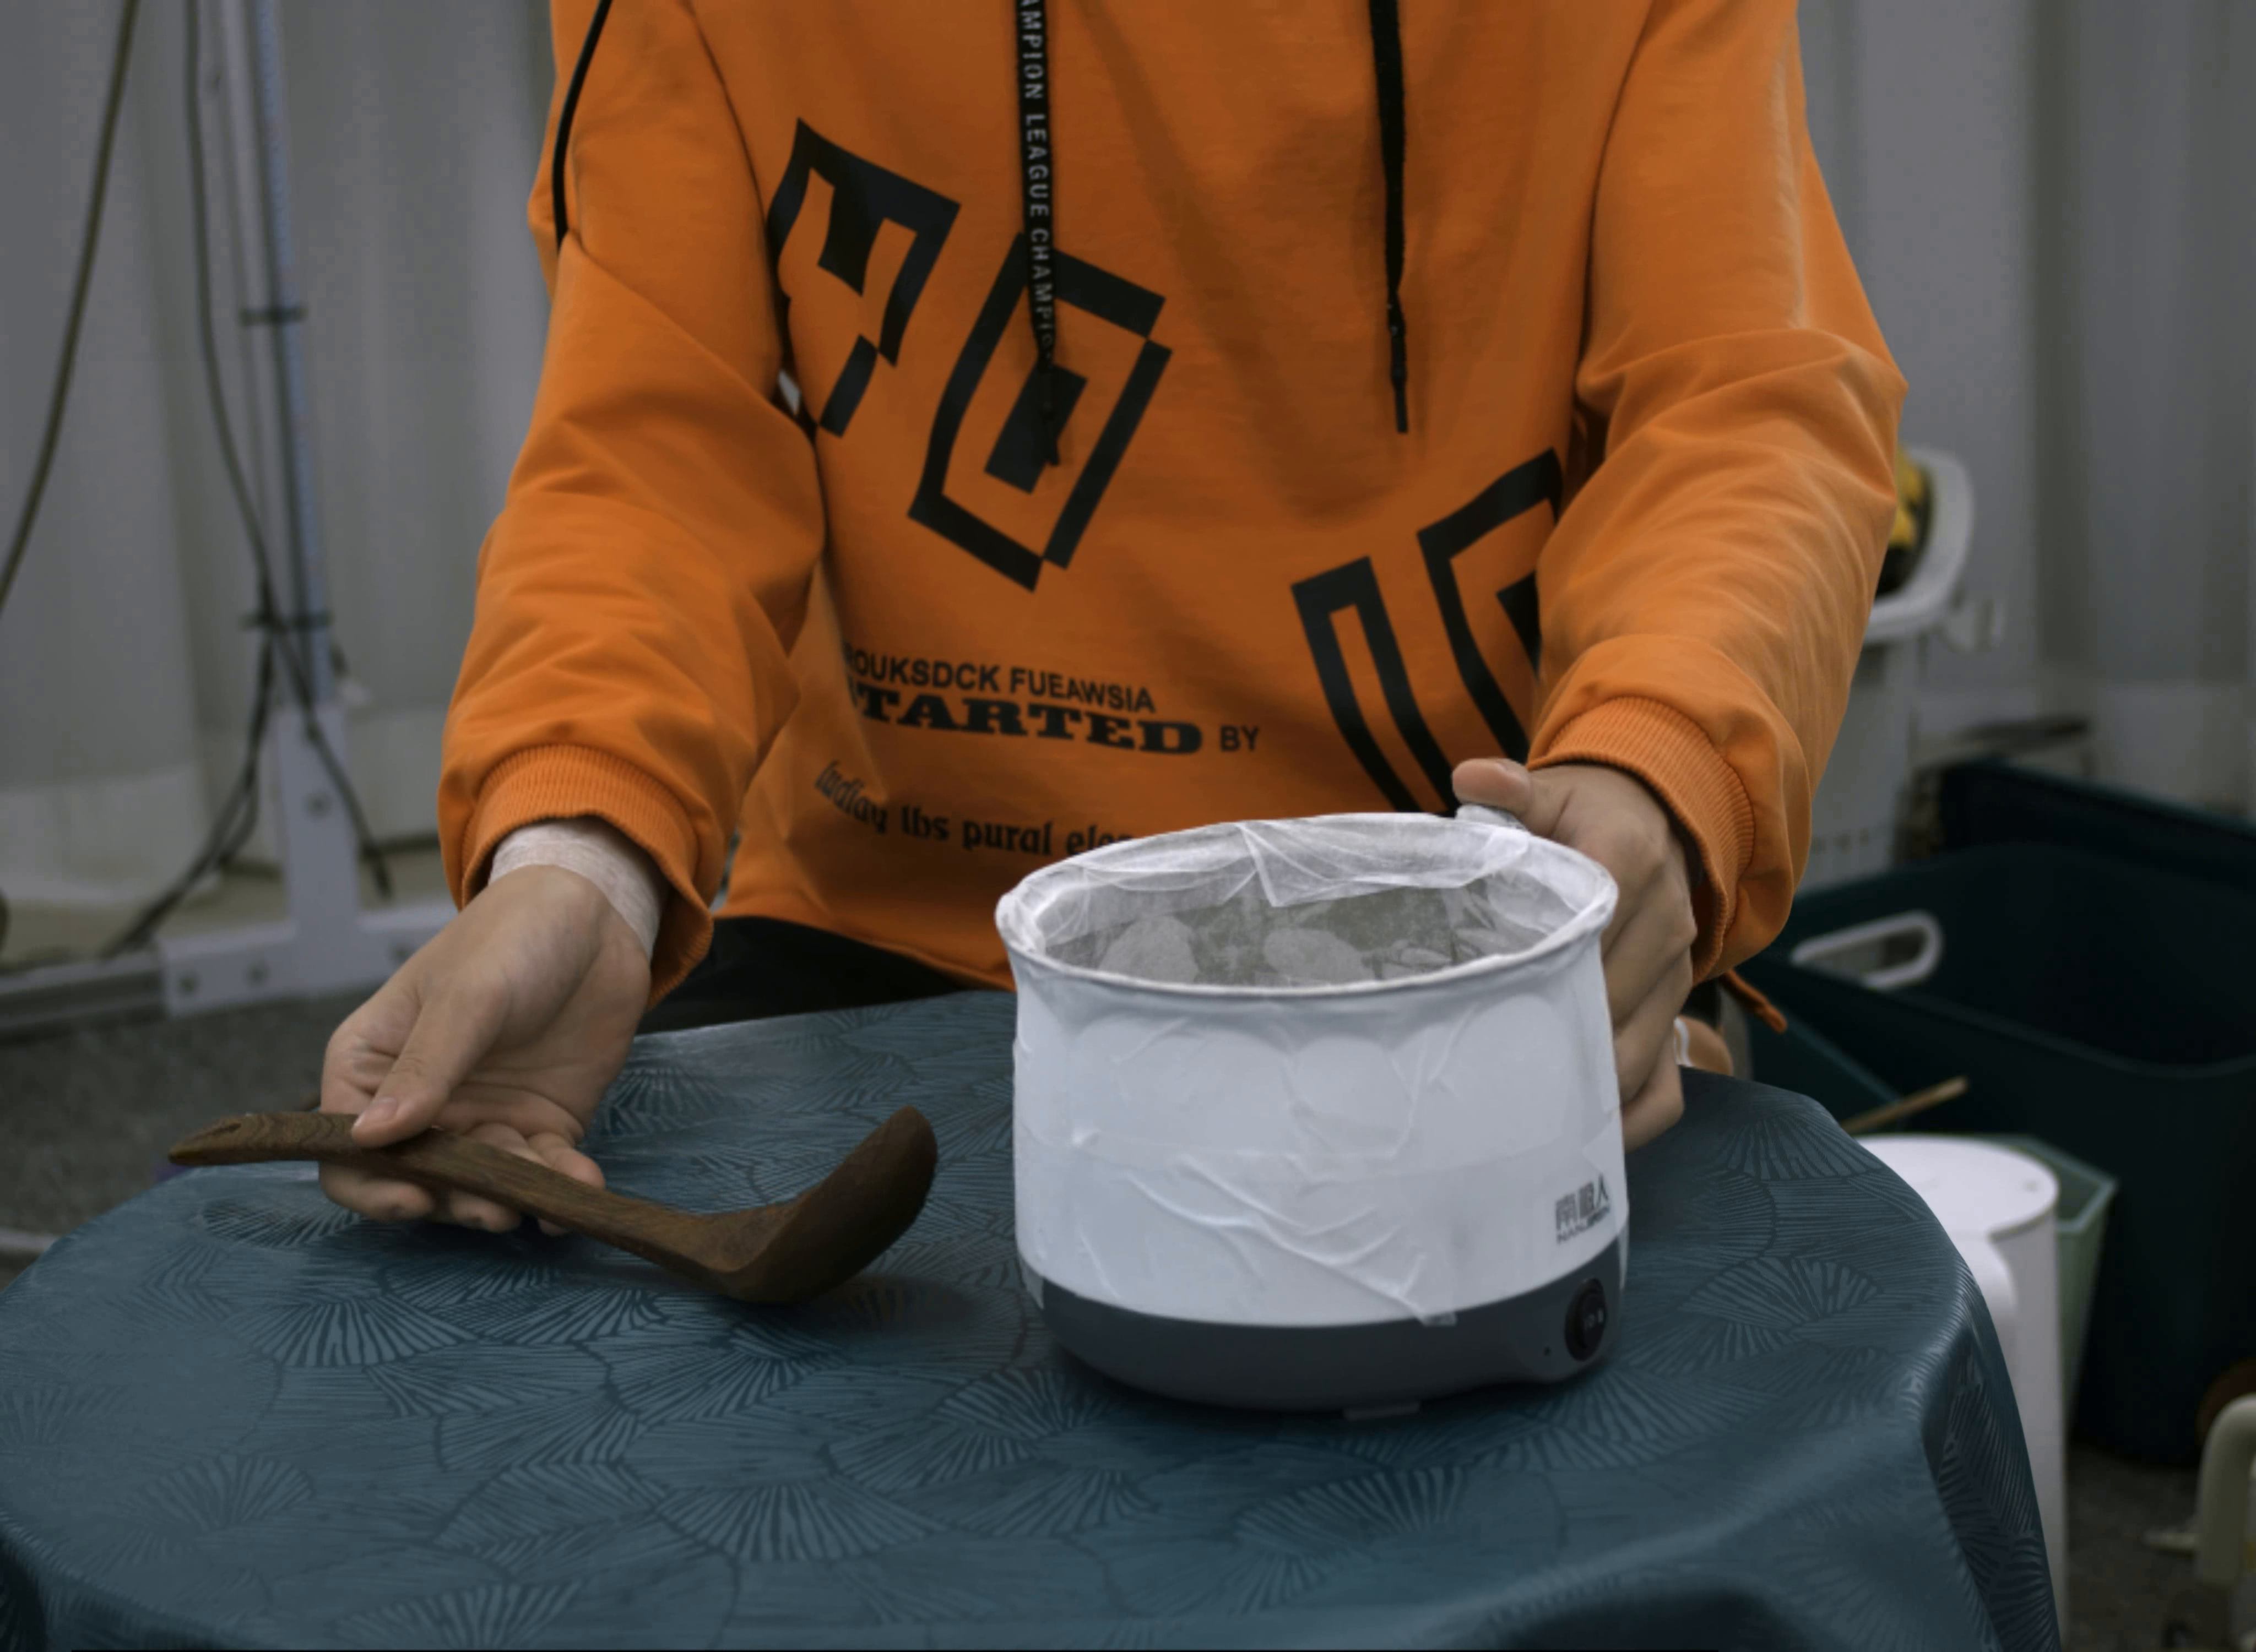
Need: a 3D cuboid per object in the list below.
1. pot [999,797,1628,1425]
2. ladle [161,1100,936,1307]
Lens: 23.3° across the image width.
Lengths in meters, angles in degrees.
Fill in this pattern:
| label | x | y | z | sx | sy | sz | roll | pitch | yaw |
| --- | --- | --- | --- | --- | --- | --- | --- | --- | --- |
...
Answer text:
| label | x | y | z | sx | sy | sz | roll | pitch | yaw |
| --- | --- | --- | --- | --- | --- | --- | --- | --- | --- |
| pot | 0.069 | 0.075 | 1.586 | 0.179 | 0.136 | 0.234 | 7 | 18 | 31 |
| ladle | -0.183 | 0.094 | 1.669 | 0.275 | 0.071 | 0.076 | 11 | 23 | 27 |
